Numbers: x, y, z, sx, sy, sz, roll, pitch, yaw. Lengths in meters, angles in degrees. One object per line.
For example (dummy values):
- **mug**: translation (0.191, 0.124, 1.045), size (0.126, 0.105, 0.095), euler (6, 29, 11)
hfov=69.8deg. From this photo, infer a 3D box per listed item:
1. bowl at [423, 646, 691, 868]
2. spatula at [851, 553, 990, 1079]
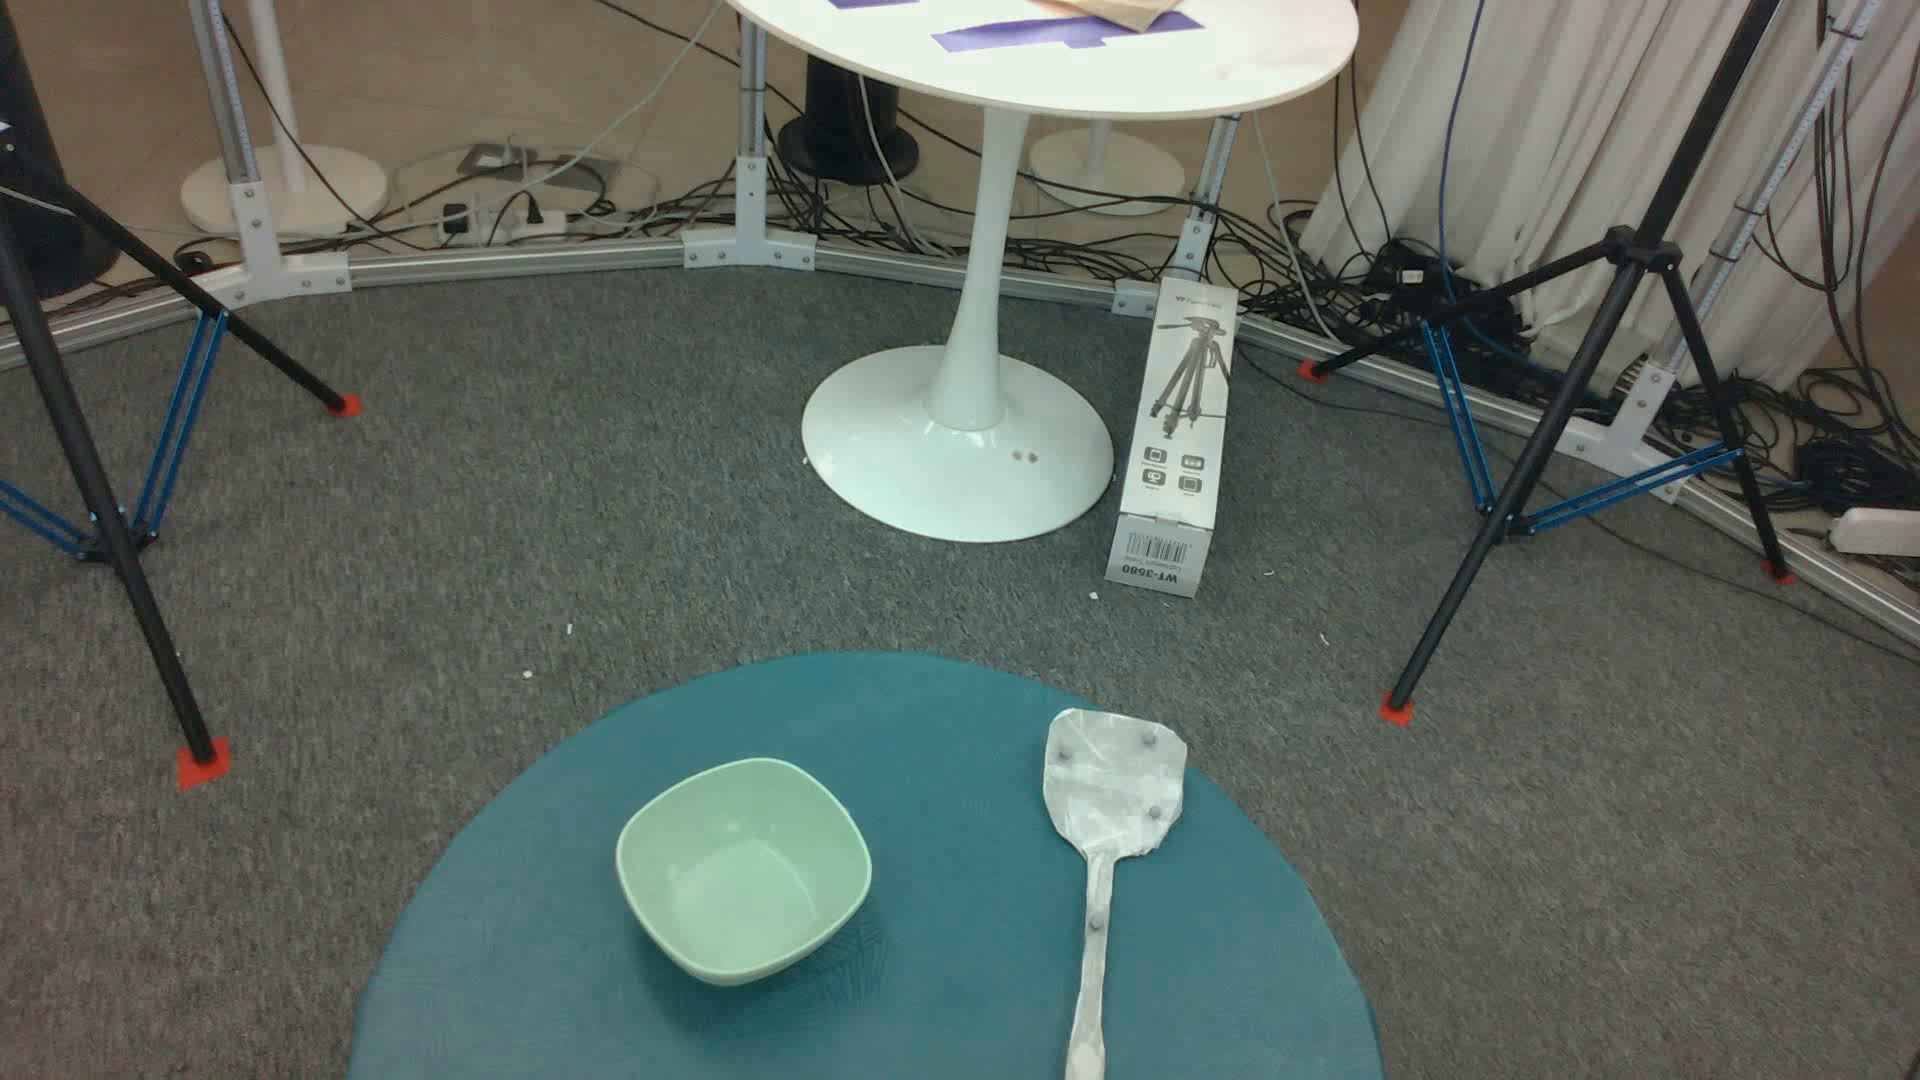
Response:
- **bowl**: translation (-0.239, 0.139, 0.825), size (0.151, 0.058, 0.152), euler (7, 44, -6)
- **spatula**: translation (-0.030, 0.158, 0.870), size (0.099, 0.044, 0.366), euler (9, 46, -8)
